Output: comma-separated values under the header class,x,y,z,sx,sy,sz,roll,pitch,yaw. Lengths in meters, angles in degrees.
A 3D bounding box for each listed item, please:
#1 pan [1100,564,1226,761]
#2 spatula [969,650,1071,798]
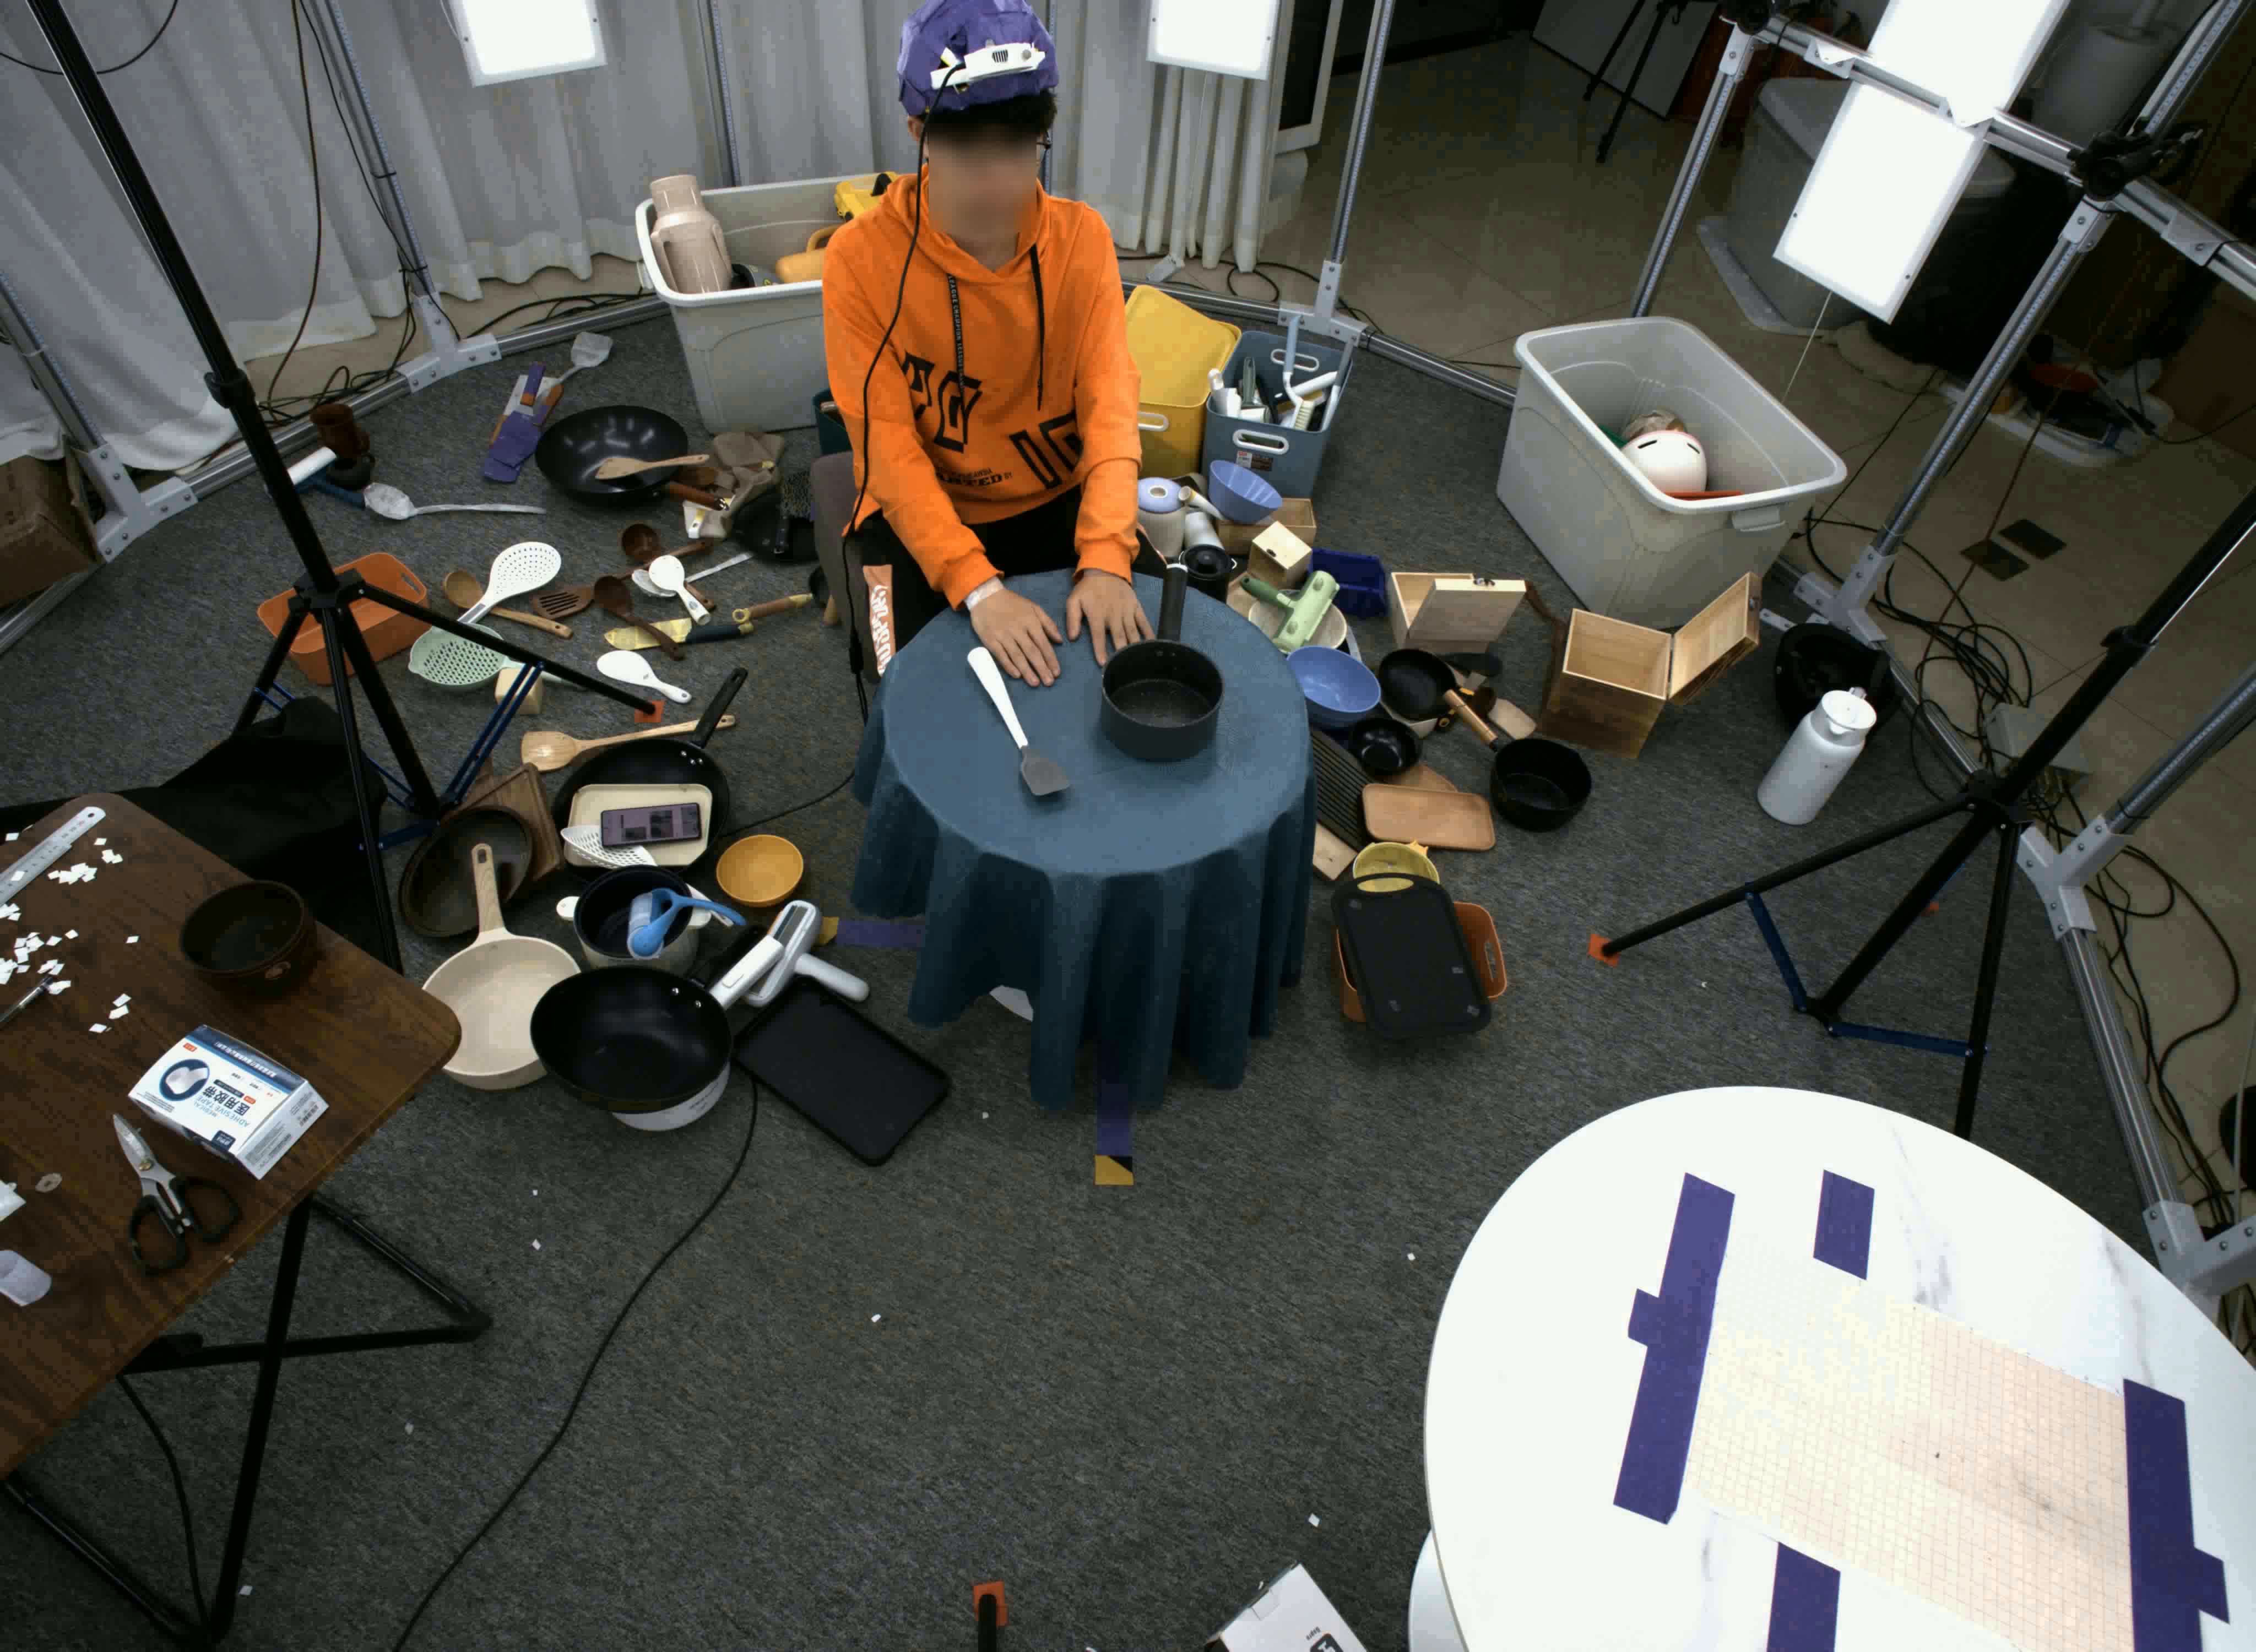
class,x,y,z,sx,sy,sz,roll,pitch,yaw
pan,0.057,-0.235,1.822,0.172,0.084,0.336,9,51,3
spatula,-0.155,-0.139,1.758,0.059,0.031,0.294,-14,50,-21
